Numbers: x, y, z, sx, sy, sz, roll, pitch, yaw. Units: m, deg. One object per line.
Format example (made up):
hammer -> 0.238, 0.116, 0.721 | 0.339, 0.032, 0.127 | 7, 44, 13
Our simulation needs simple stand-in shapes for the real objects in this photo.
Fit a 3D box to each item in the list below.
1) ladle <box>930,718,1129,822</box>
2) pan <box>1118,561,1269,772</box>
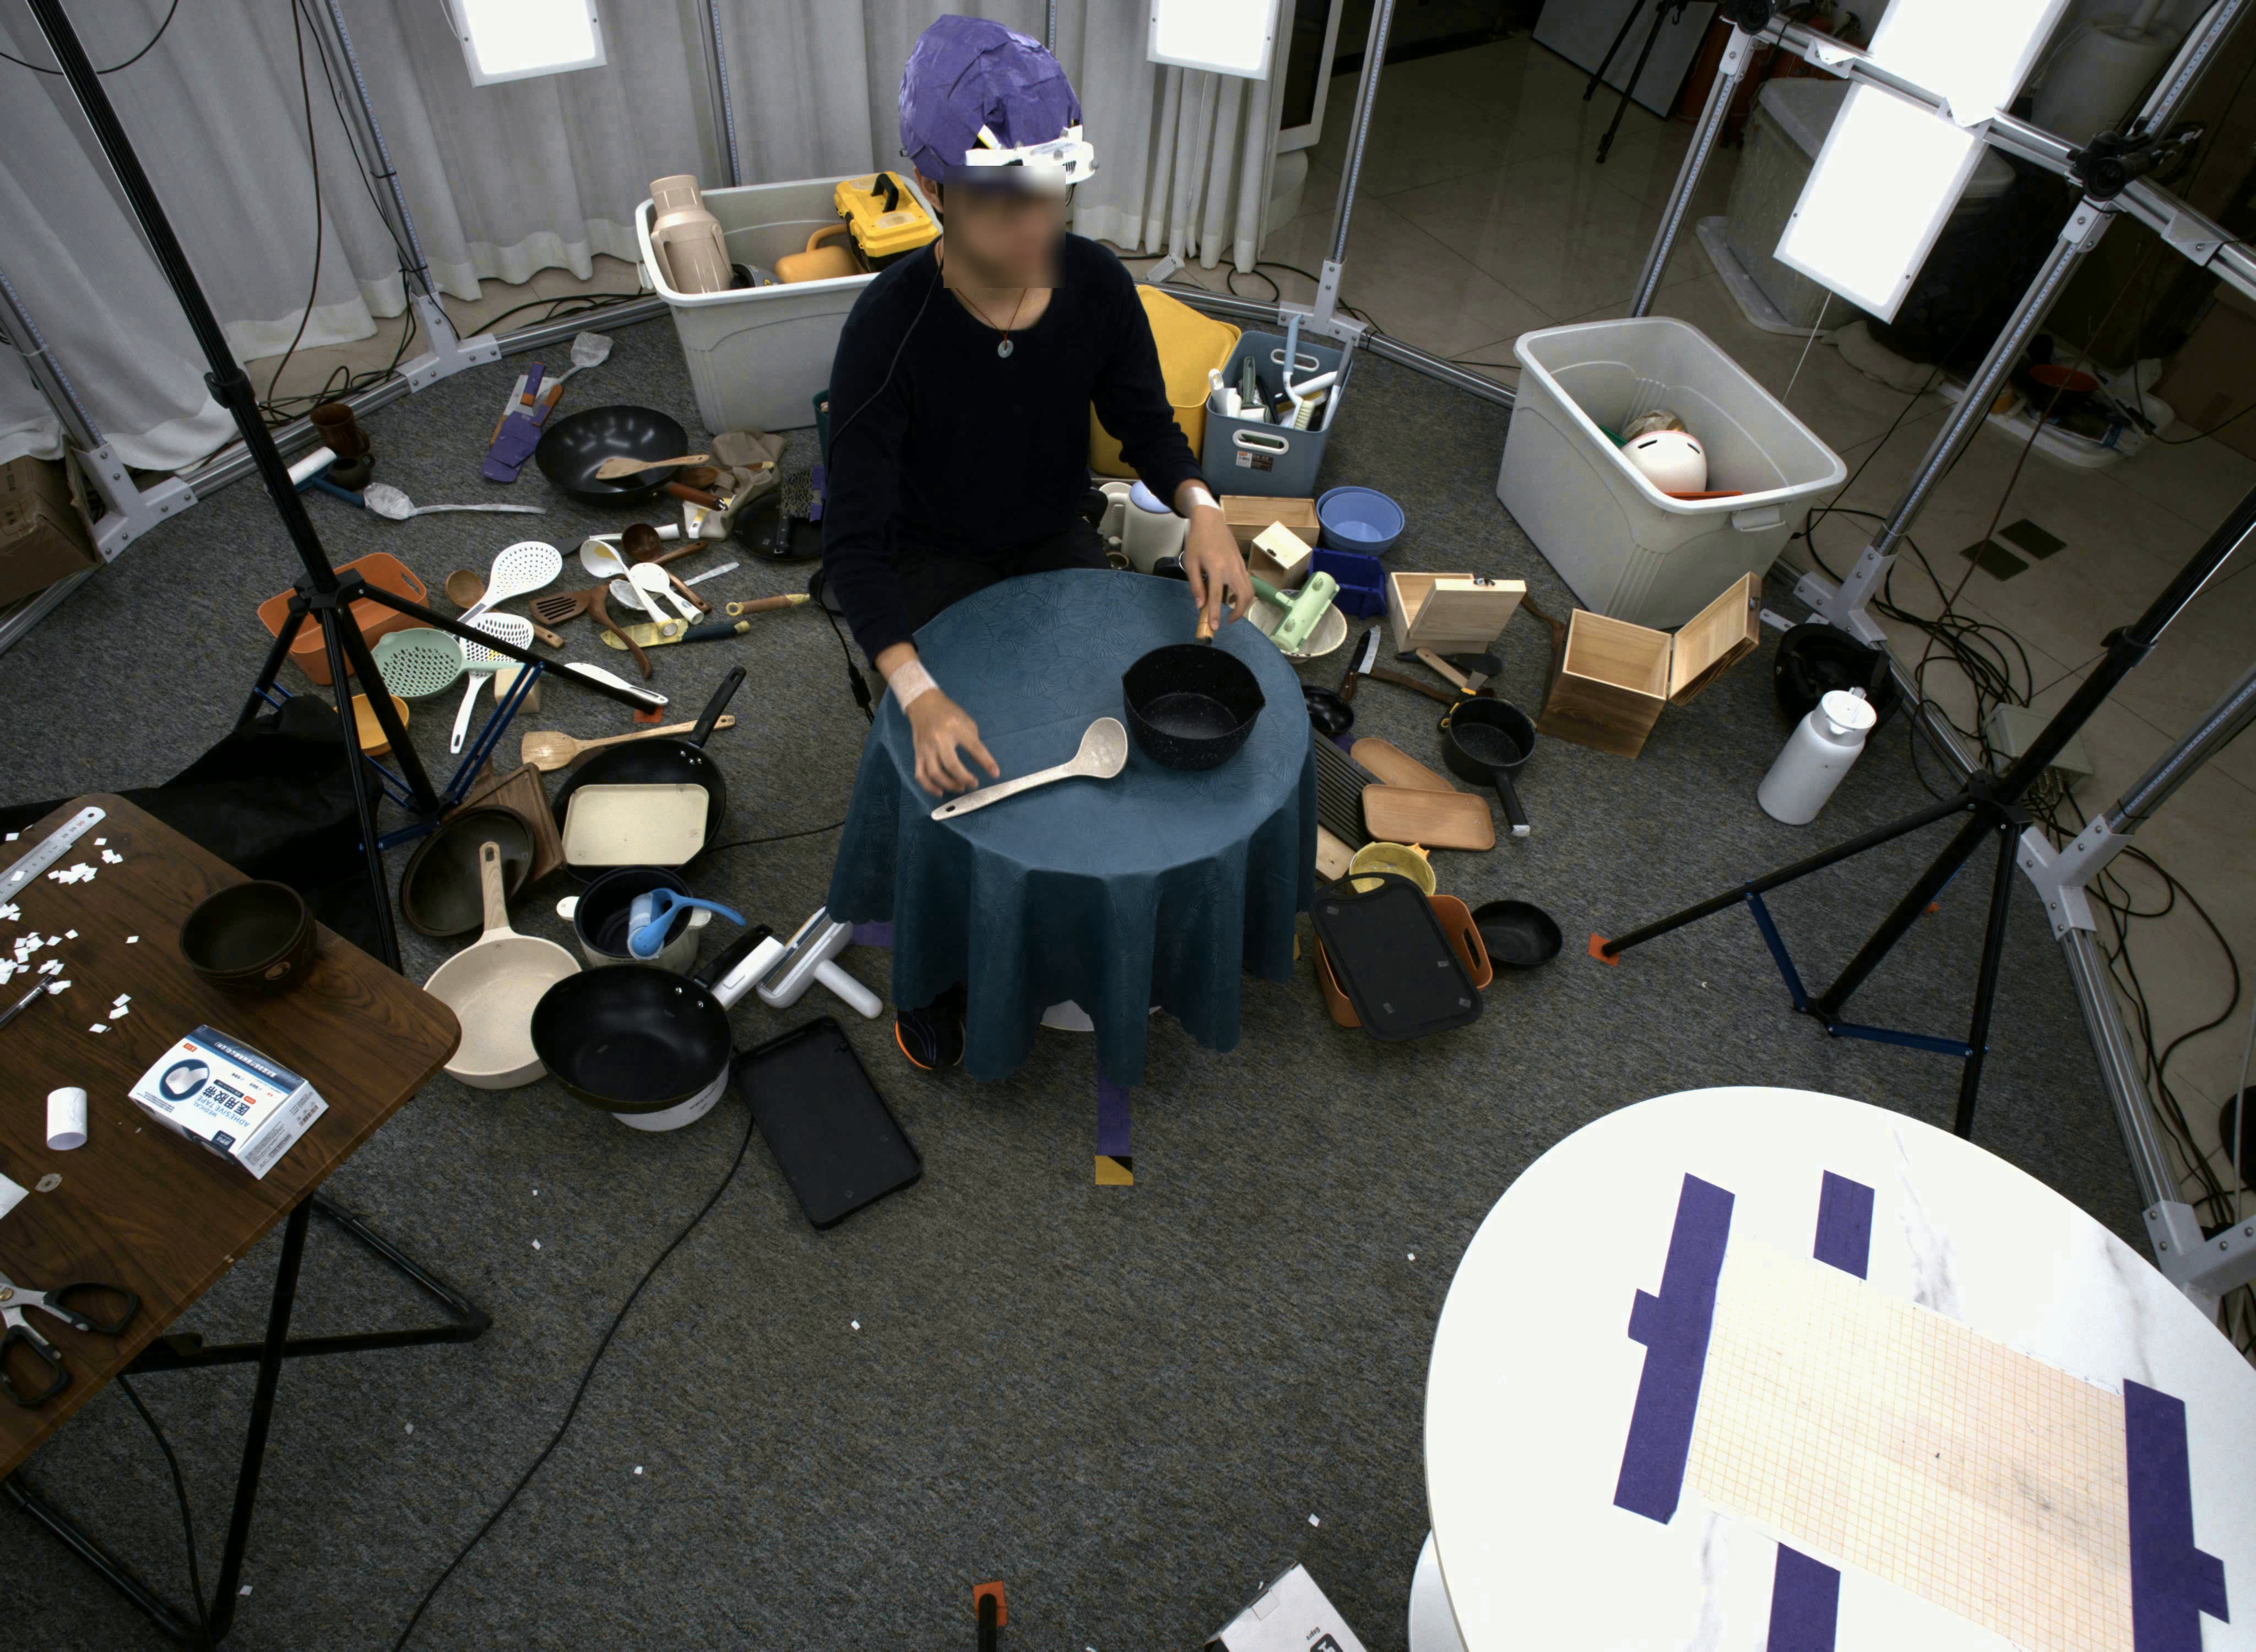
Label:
ladle -> -0.128, -0.070, 1.677 | 0.275, 0.068, 0.091 | -19, 60, -19
pan -> 0.098, -0.225, 1.801 | 0.207, 0.105, 0.351 | 8, 50, 4
